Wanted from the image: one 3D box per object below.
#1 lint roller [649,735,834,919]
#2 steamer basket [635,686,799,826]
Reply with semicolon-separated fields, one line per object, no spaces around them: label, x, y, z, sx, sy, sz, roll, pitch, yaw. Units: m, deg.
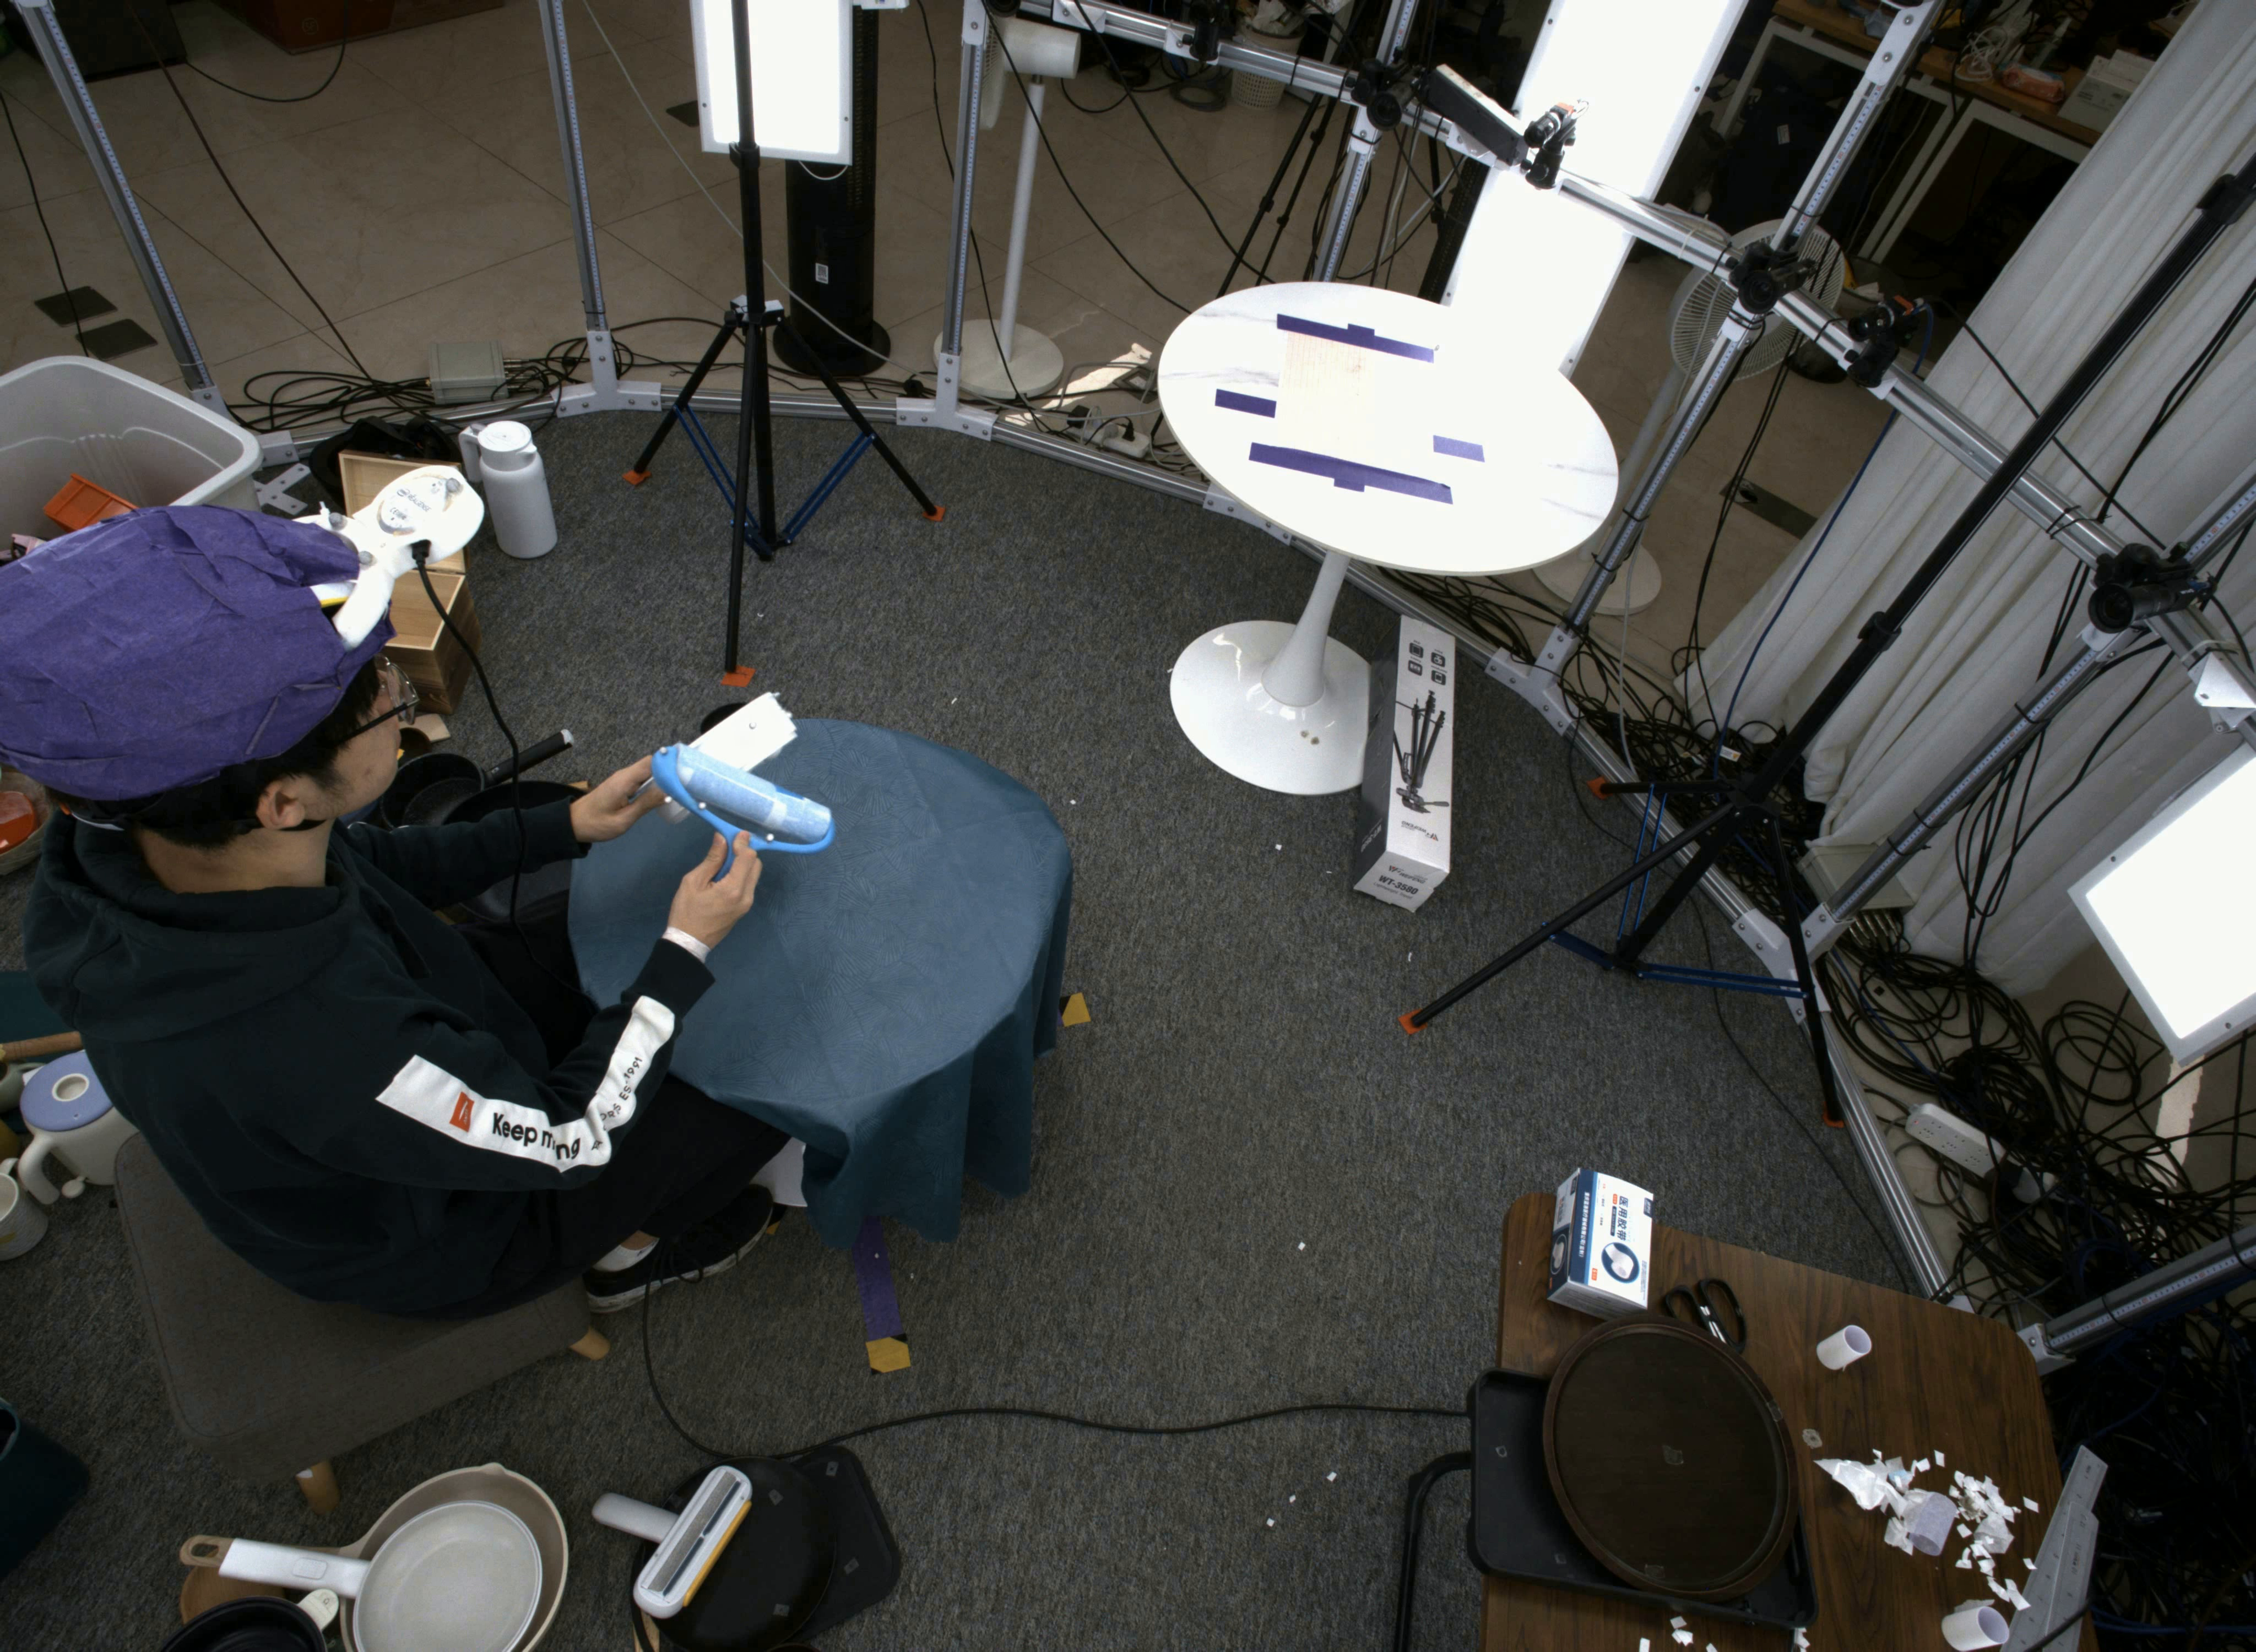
lint roller;-0.446;0.015;1.452;0.236;0.066;0.180;23;73;-40
steamer basket;-0.490;-0.083;1.562;0.070;0.198;0.230;52;48;-10
